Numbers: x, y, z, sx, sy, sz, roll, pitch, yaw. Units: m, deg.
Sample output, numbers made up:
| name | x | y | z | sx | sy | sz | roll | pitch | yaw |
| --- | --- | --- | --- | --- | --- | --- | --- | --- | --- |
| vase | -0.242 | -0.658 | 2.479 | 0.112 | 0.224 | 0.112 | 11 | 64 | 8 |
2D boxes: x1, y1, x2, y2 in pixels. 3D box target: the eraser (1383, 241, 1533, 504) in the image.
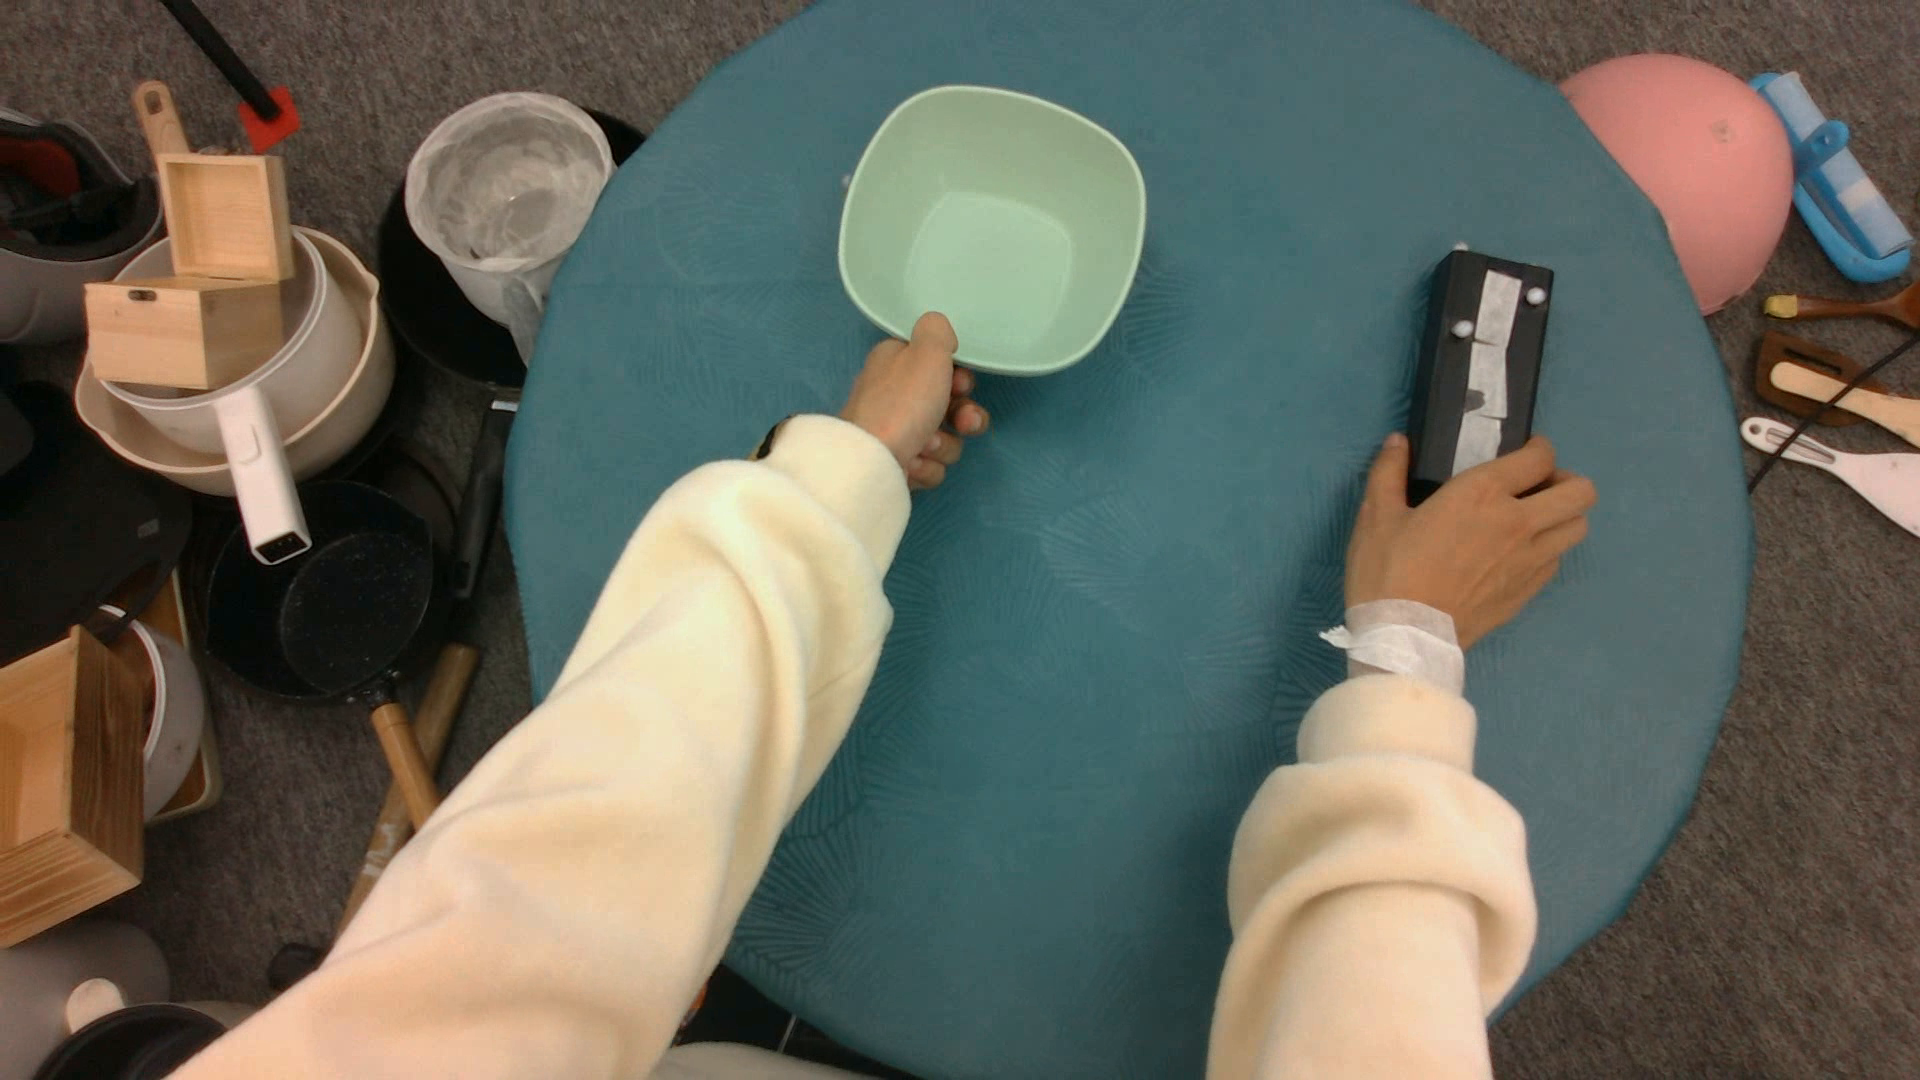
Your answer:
| name | x | y | z | sx | sy | sz | roll | pitch | yaw |
| --- | --- | --- | --- | --- | --- | --- | --- | --- | --- |
| eraser | 0.242 | -0.082 | 0.671 | 0.053 | 0.030 | 0.126 | 11 | 77 | 3 |

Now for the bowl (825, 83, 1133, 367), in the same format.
| name | x | y | z | sx | sy | sz | roll | pitch | yaw |
| --- | --- | --- | --- | --- | --- | --- | --- | --- | --- |
| bowl | 0.009 | -0.143 | 0.666 | 0.151 | 0.058 | 0.152 | 1 | 74 | -2 |
